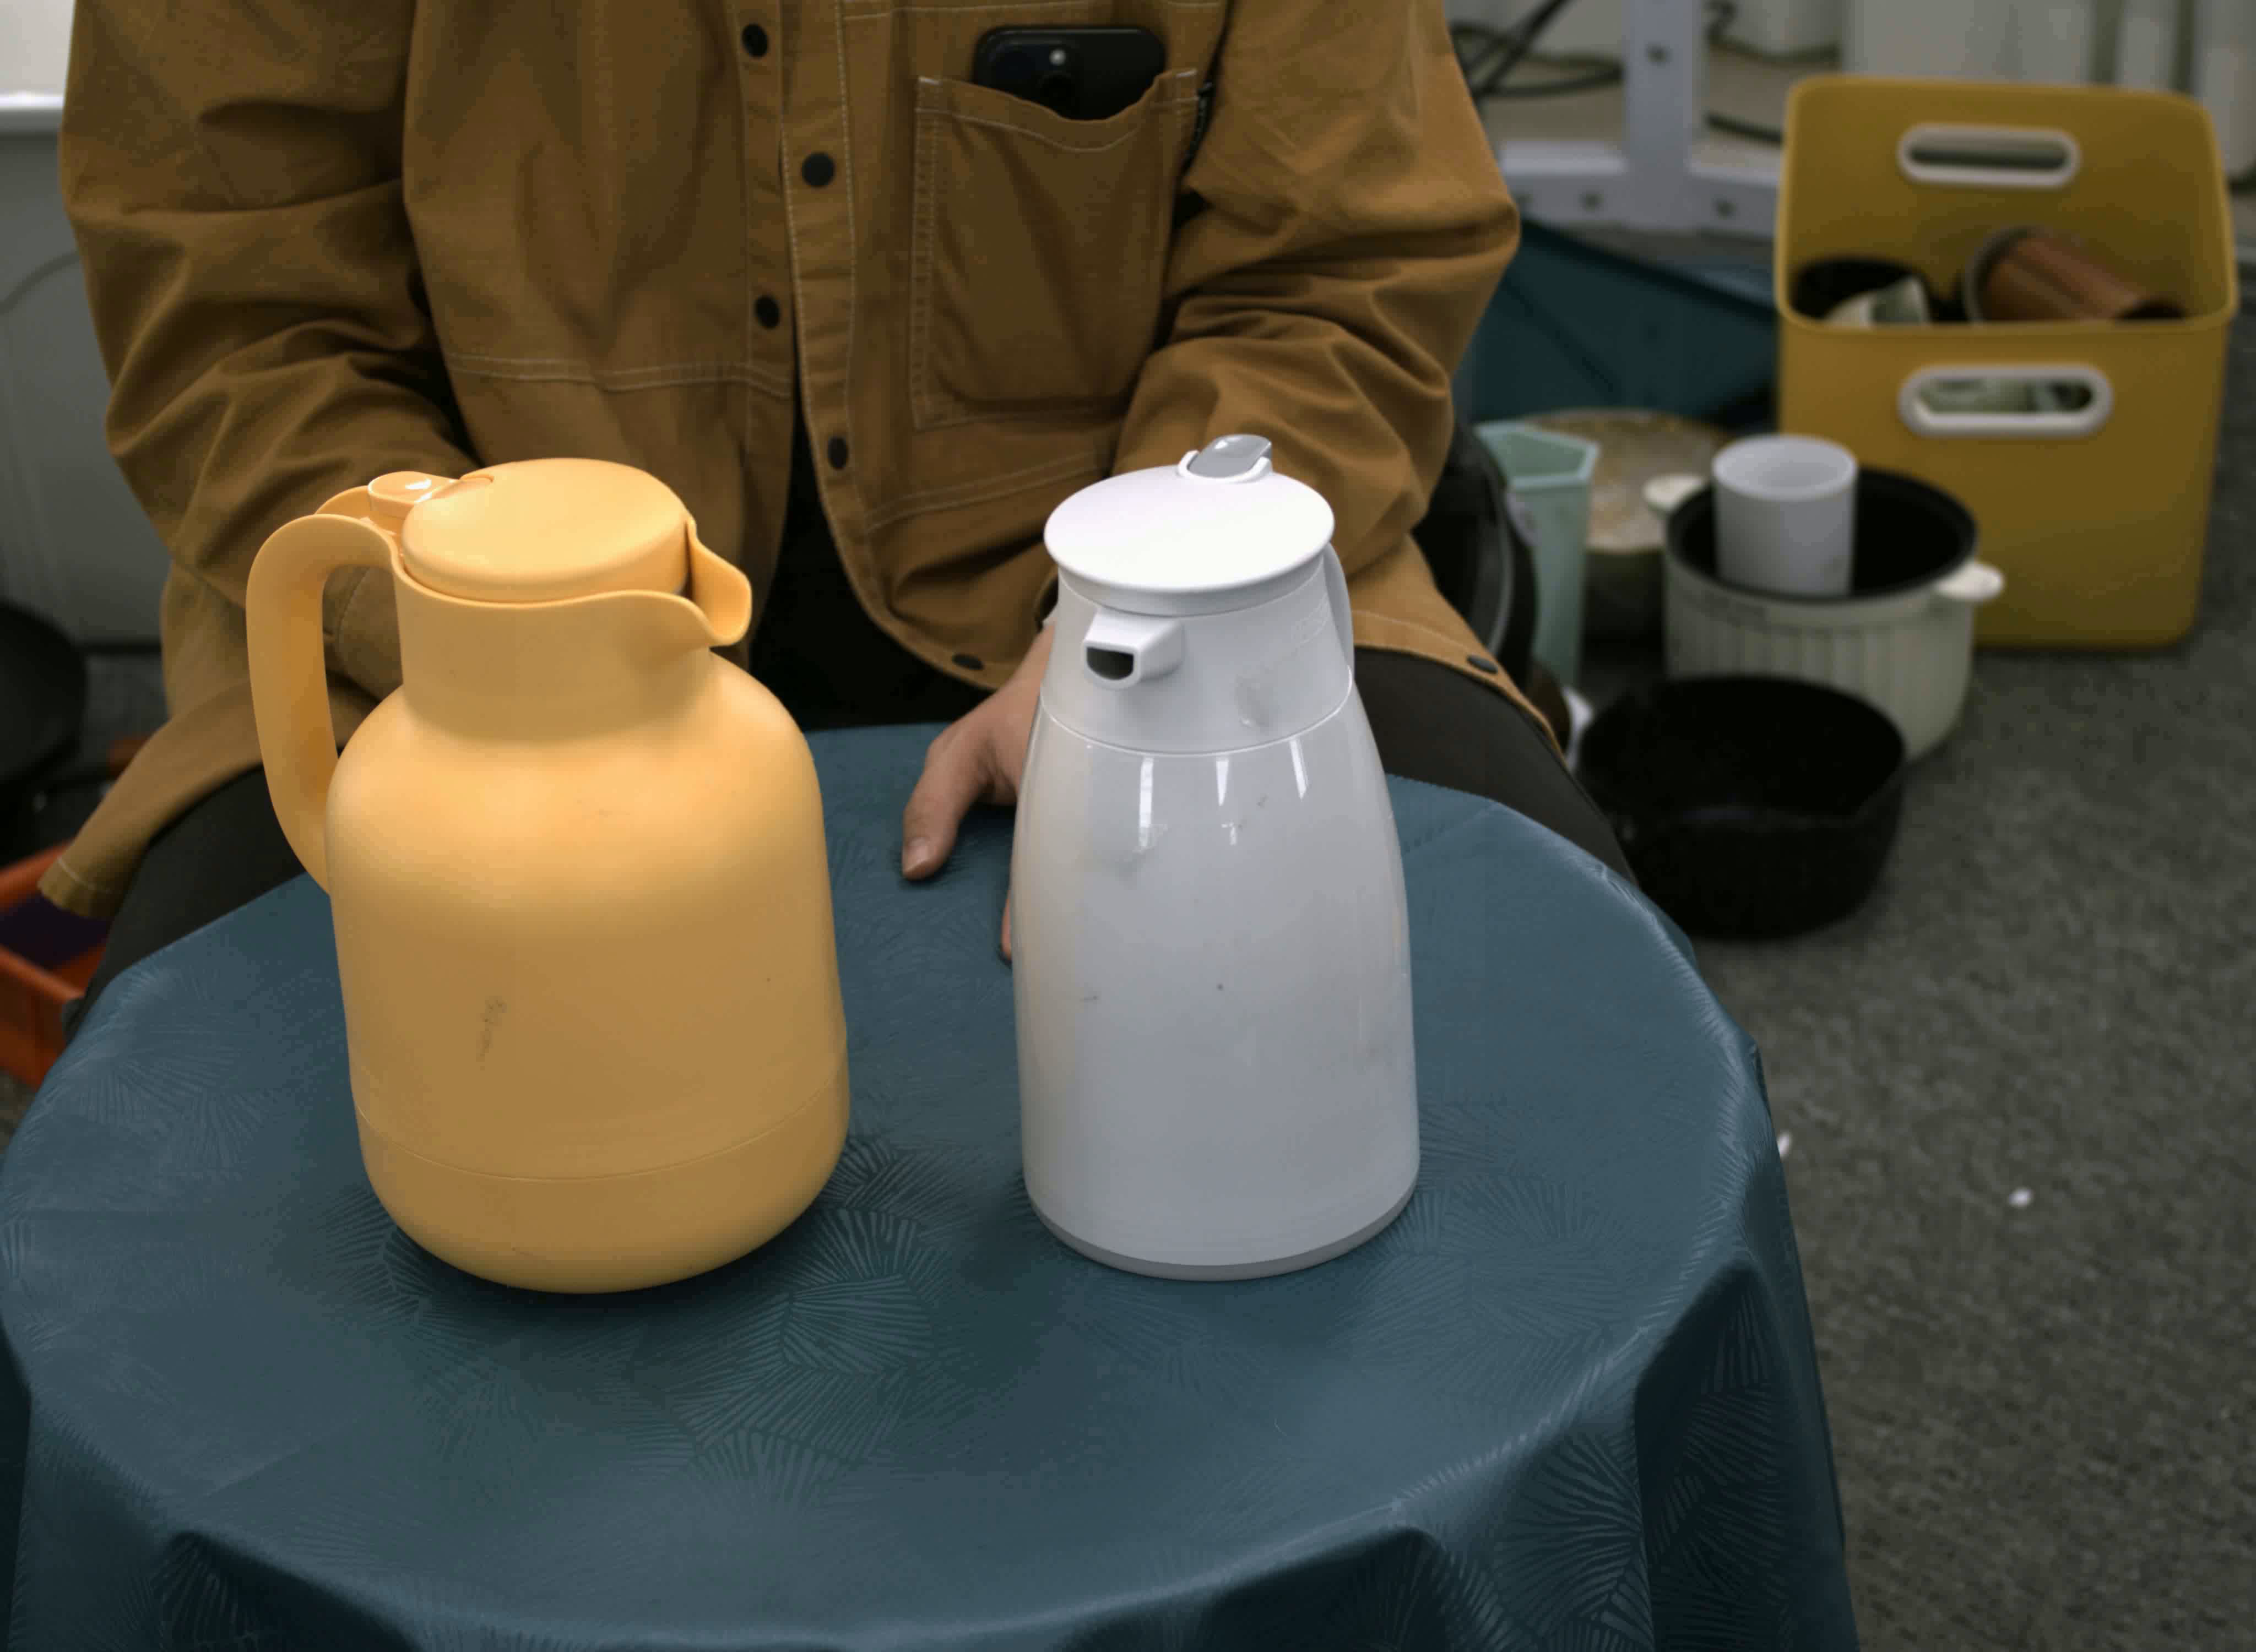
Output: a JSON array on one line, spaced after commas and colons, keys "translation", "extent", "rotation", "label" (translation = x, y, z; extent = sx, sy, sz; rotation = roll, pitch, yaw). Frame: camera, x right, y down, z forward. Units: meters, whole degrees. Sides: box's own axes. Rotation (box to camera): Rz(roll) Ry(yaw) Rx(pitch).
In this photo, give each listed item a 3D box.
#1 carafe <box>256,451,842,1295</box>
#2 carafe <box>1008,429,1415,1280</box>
[{"translation": [-0.193, 0.006, 1.823], "extent": [0.201, 0.258, 0.166], "rotation": [16, 30, 31], "label": "carafe"}, {"translation": [0.031, -0.002, 1.828], "extent": [0.131, 0.246, 0.170], "rotation": [8, 28, 22], "label": "carafe"}]
